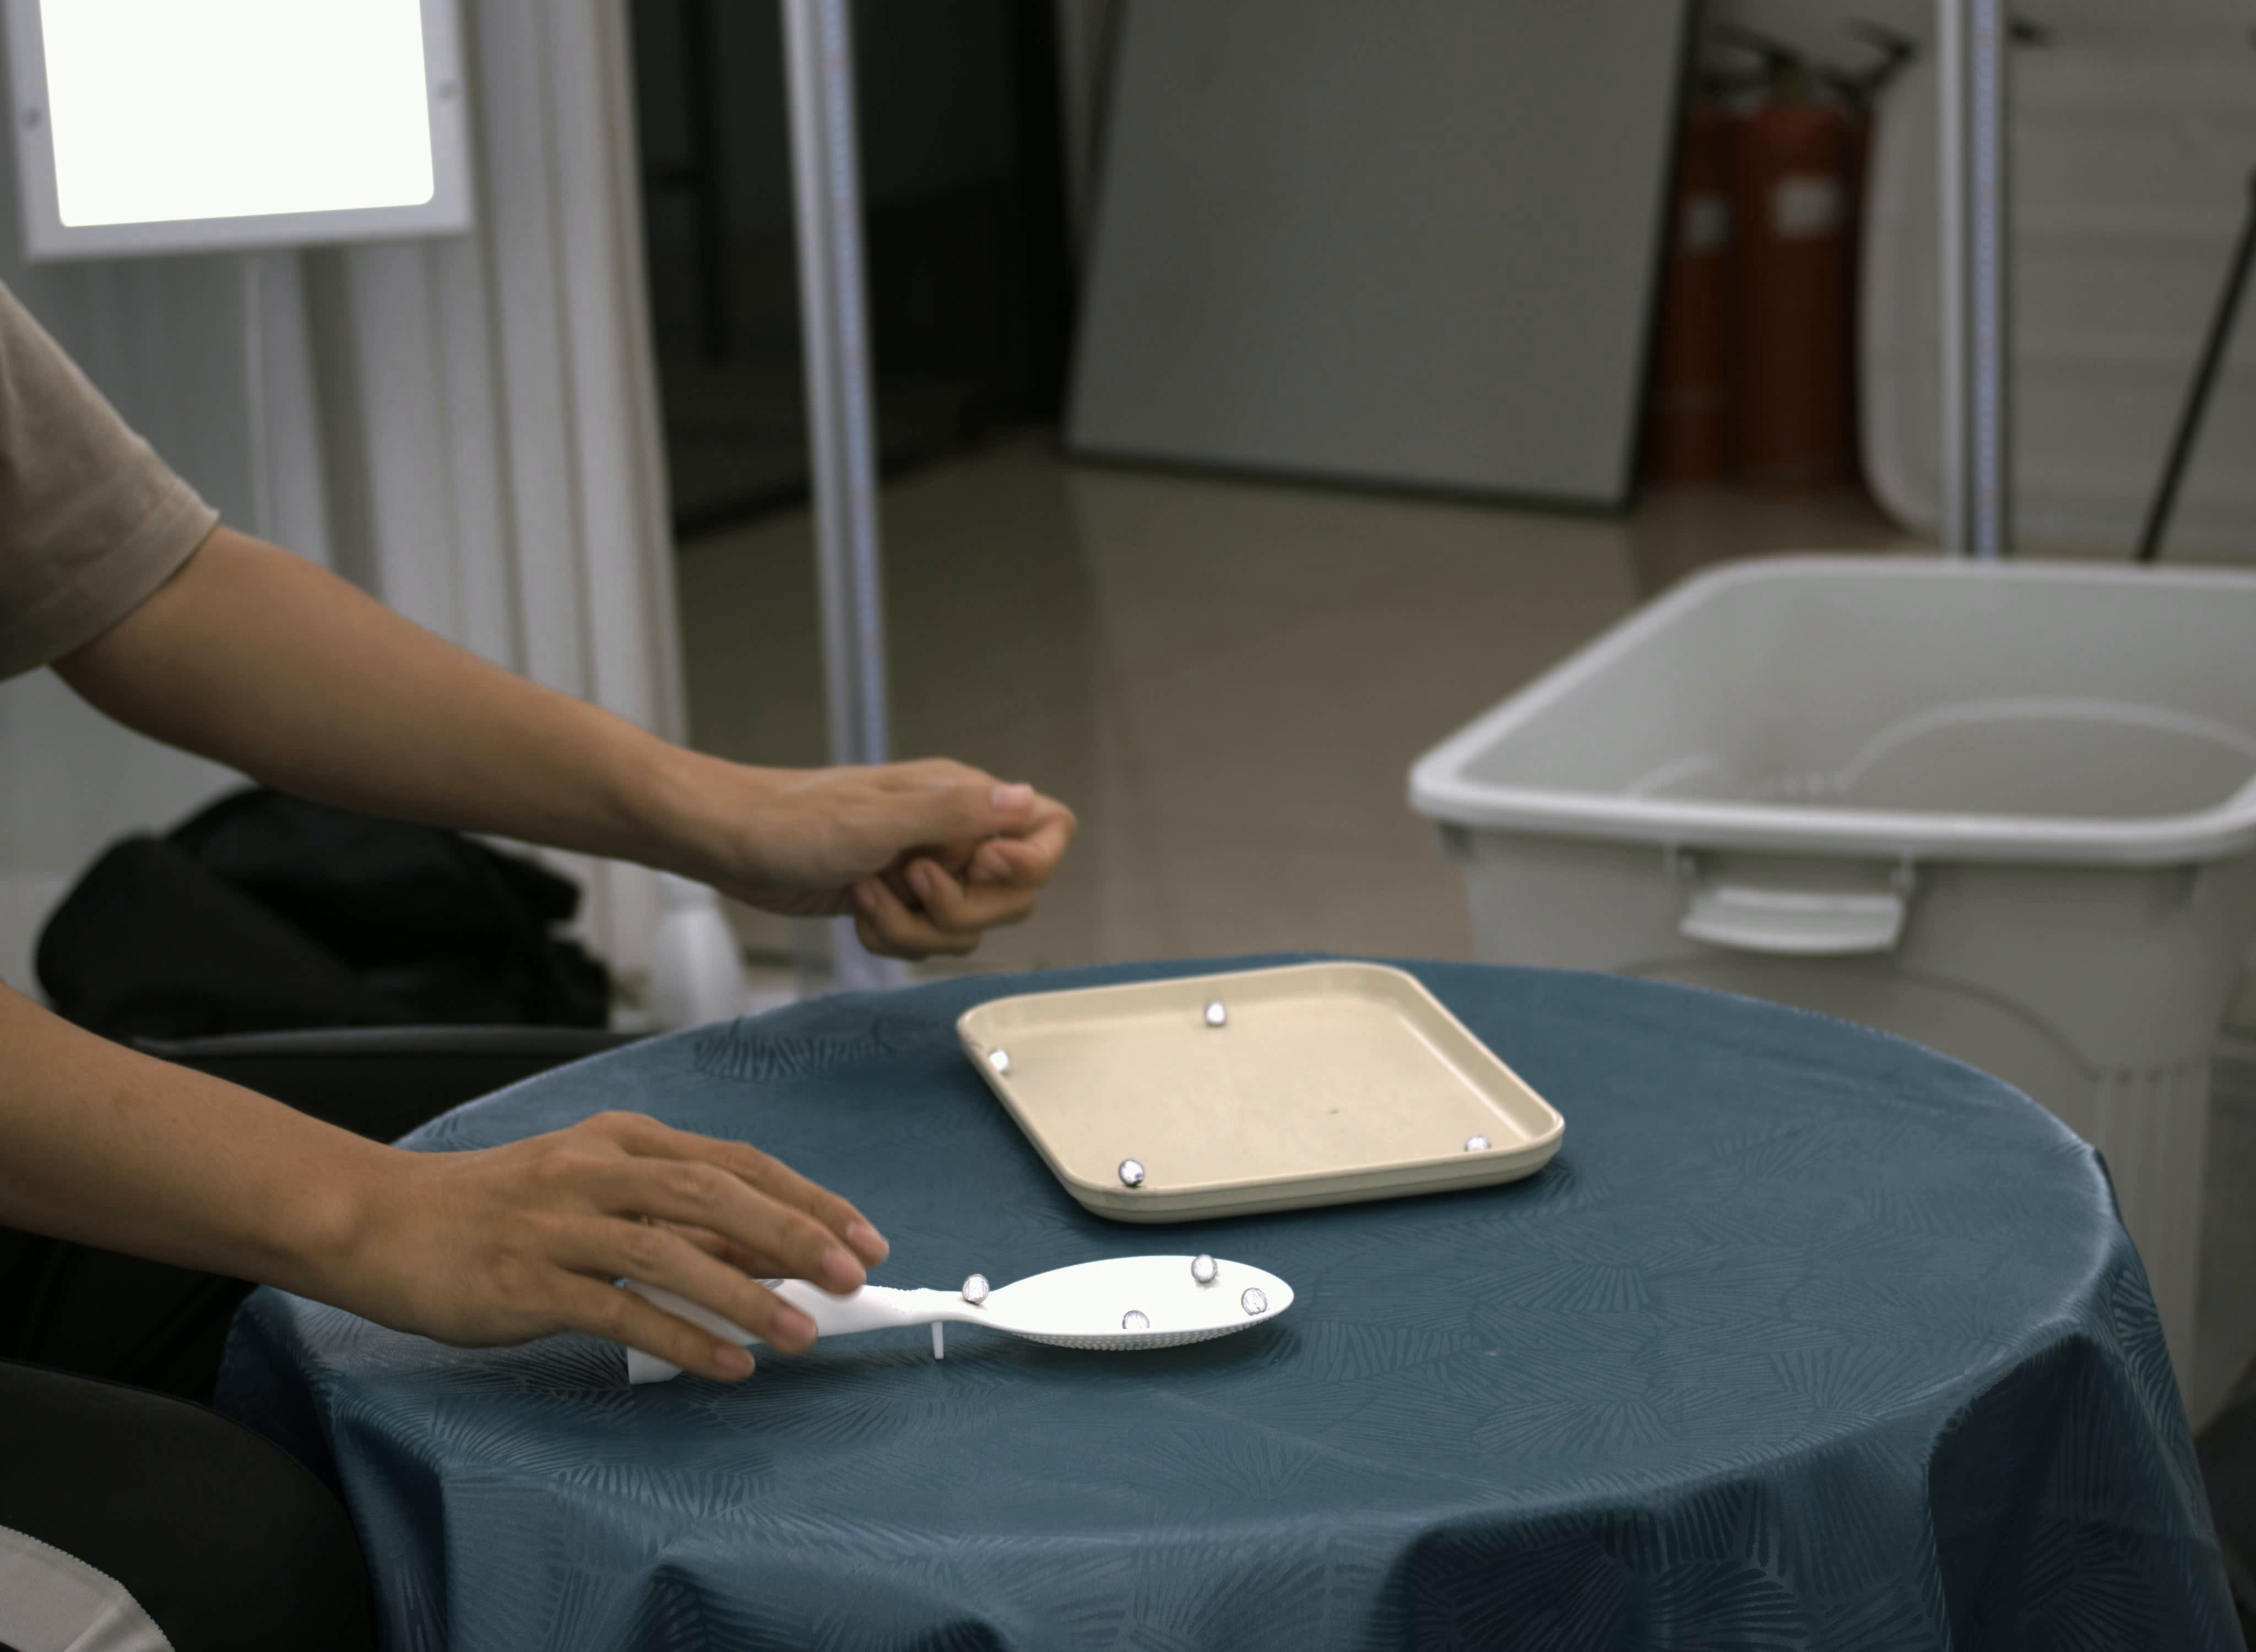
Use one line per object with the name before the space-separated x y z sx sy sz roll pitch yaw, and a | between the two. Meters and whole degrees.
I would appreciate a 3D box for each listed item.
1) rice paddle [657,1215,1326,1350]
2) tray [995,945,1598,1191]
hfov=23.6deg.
rice paddle | -0.040 0.134 1.637 0.202 0.030 0.069 -4 15 -2
tray | 0.055 0.082 1.857 0.168 0.017 0.241 -6 13 -11
